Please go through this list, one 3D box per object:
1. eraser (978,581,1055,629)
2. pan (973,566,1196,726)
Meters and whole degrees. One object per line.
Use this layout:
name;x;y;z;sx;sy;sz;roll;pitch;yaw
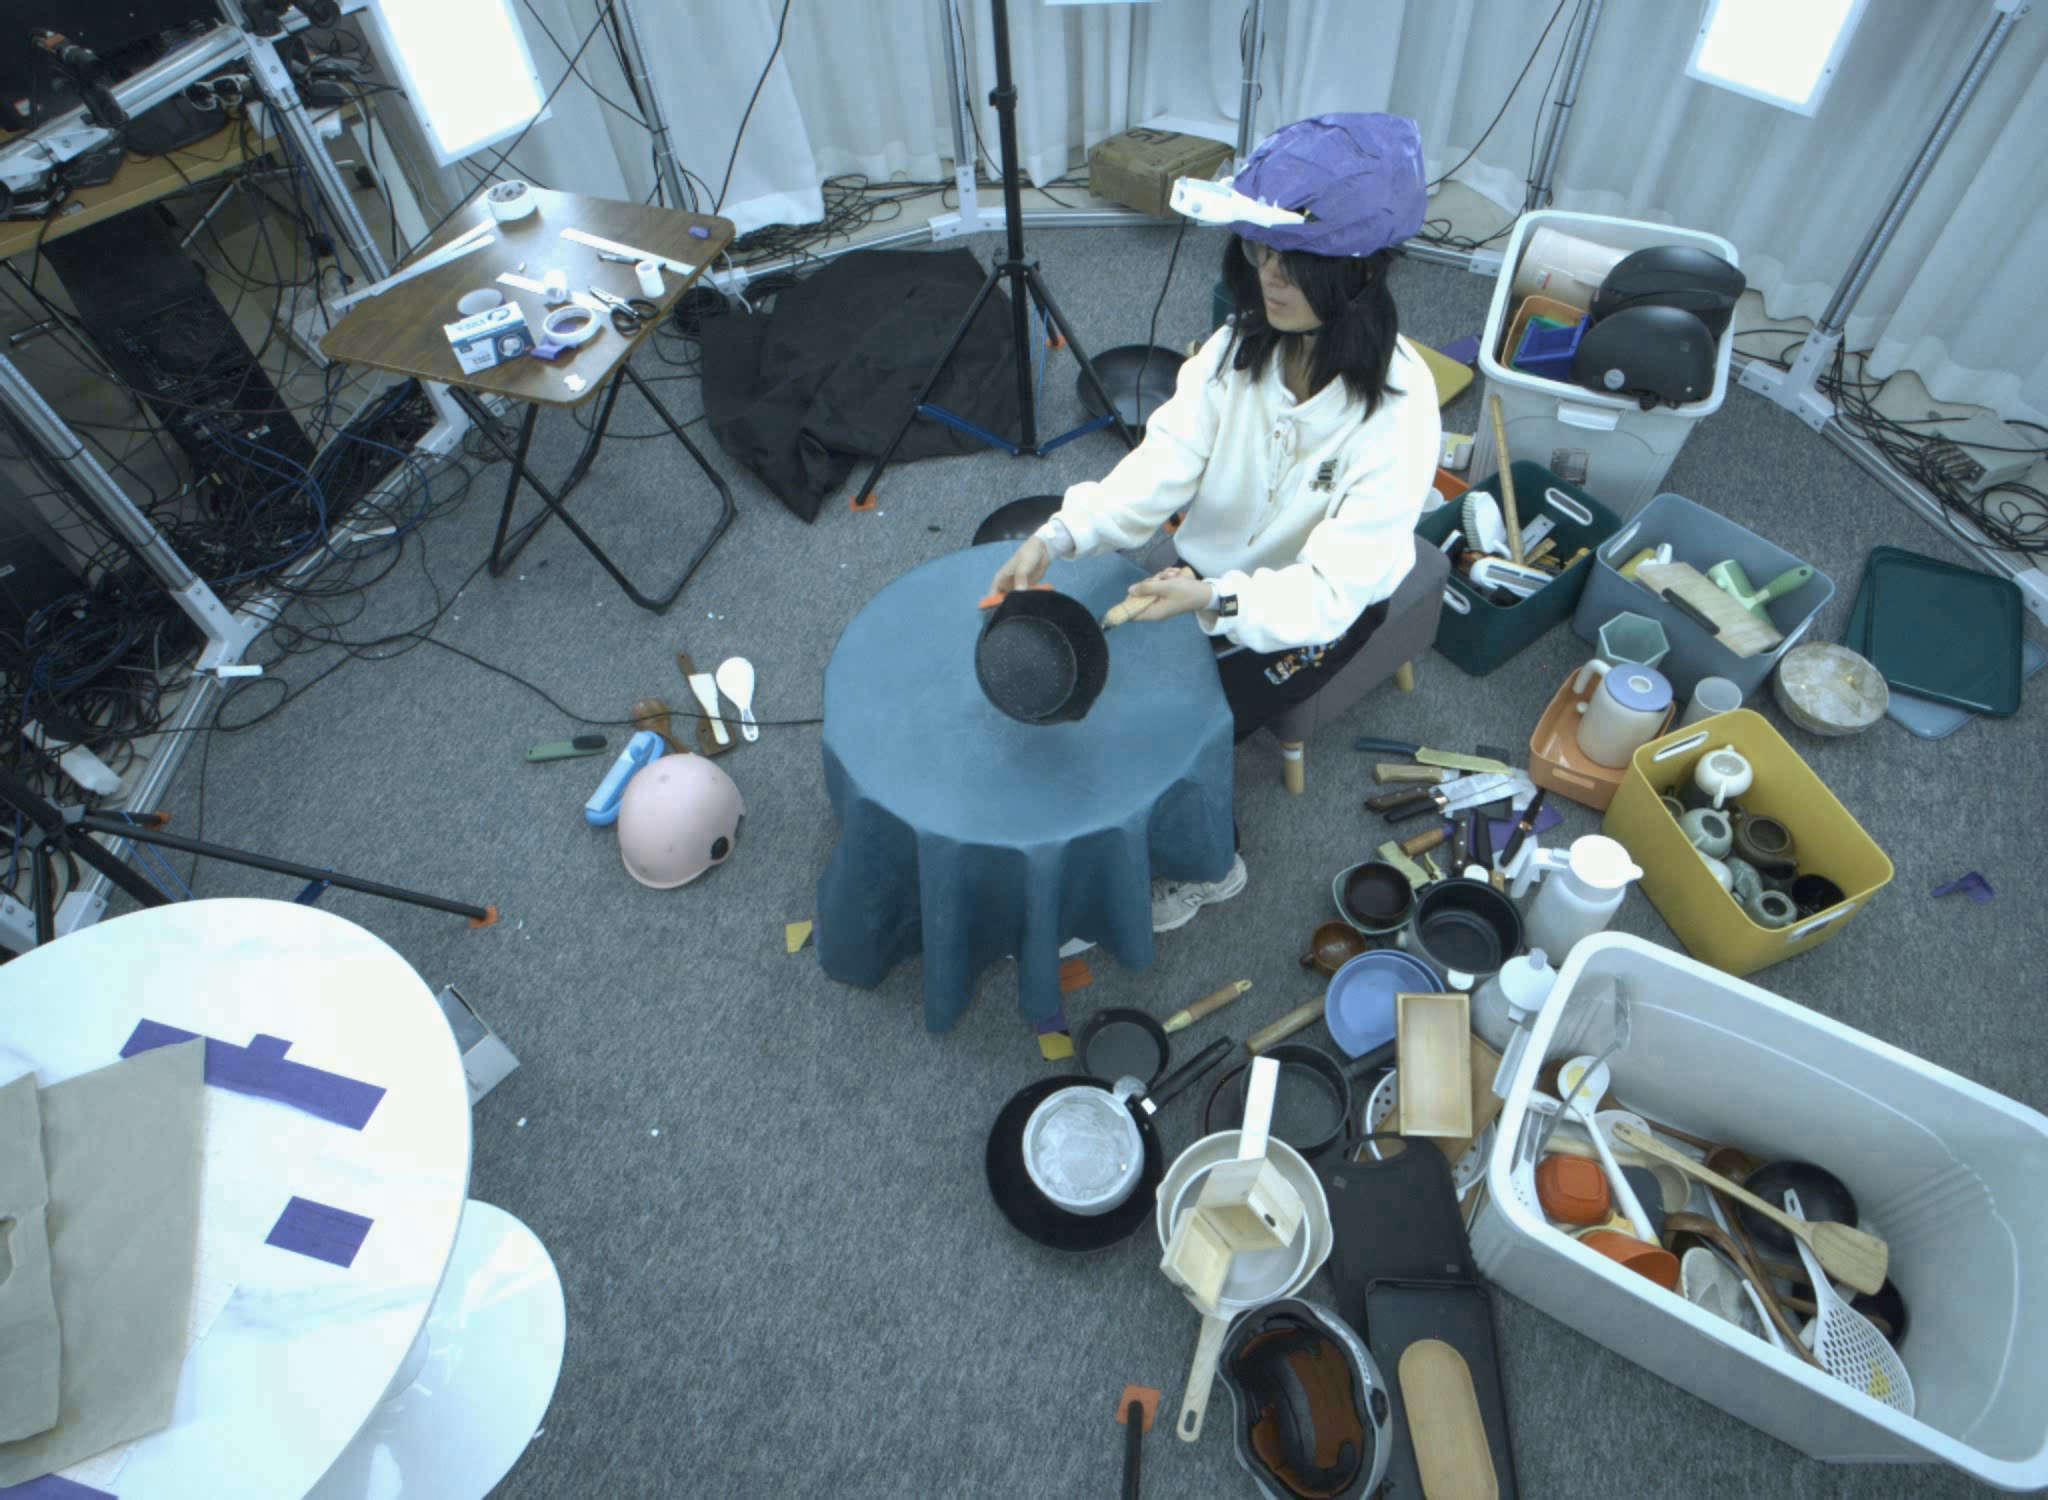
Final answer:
eraser;-0.010;-0.206;1.748;0.108;0.059;0.022;-14;63;-6
pan;0.084;-0.164;1.707;0.345;0.107;0.208;-32;95;-18
